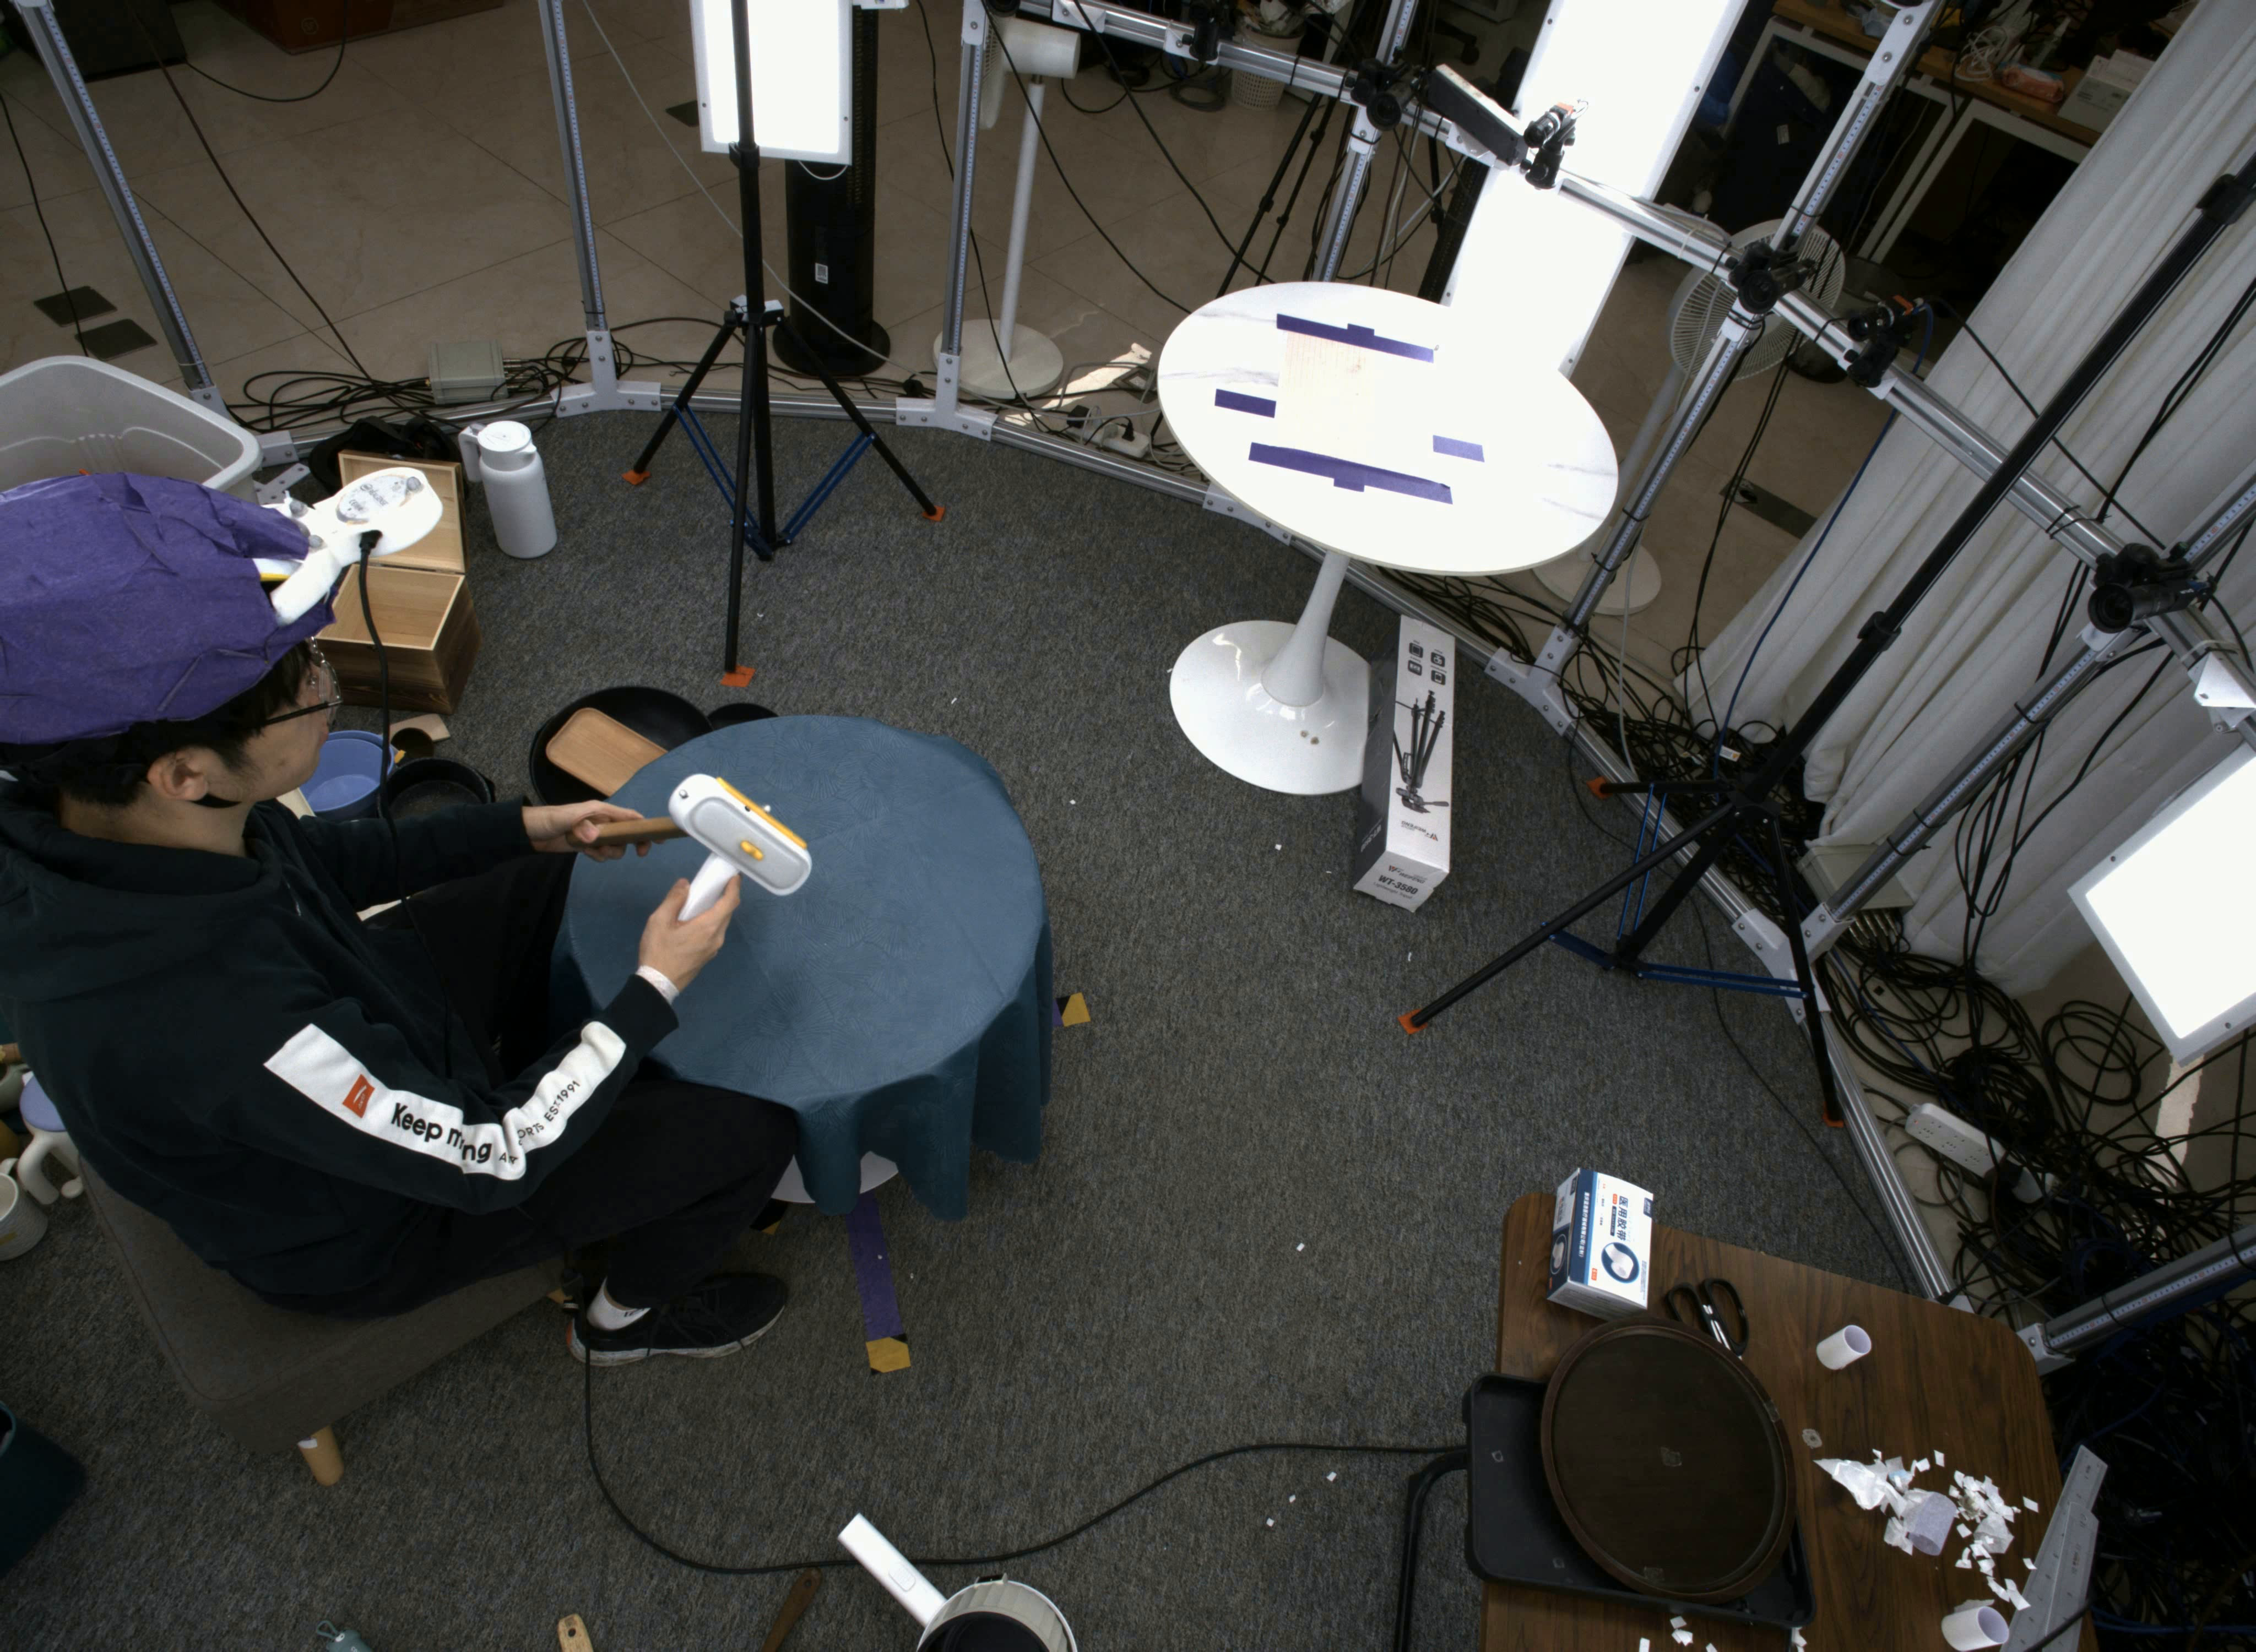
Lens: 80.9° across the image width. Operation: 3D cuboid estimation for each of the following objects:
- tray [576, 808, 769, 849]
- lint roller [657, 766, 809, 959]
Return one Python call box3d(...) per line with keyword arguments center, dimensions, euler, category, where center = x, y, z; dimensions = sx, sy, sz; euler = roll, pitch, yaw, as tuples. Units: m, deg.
box3d(center=(-0.536, 0.001, 1.505), dimensions=(0.230, 0.101, 0.020), euler=(-6, 86, -9), category="tray")
box3d(center=(-0.468, 0.054, 1.444), dimensions=(0.071, 0.200, 0.193), euler=(30, 84, 39), category="lint roller")
